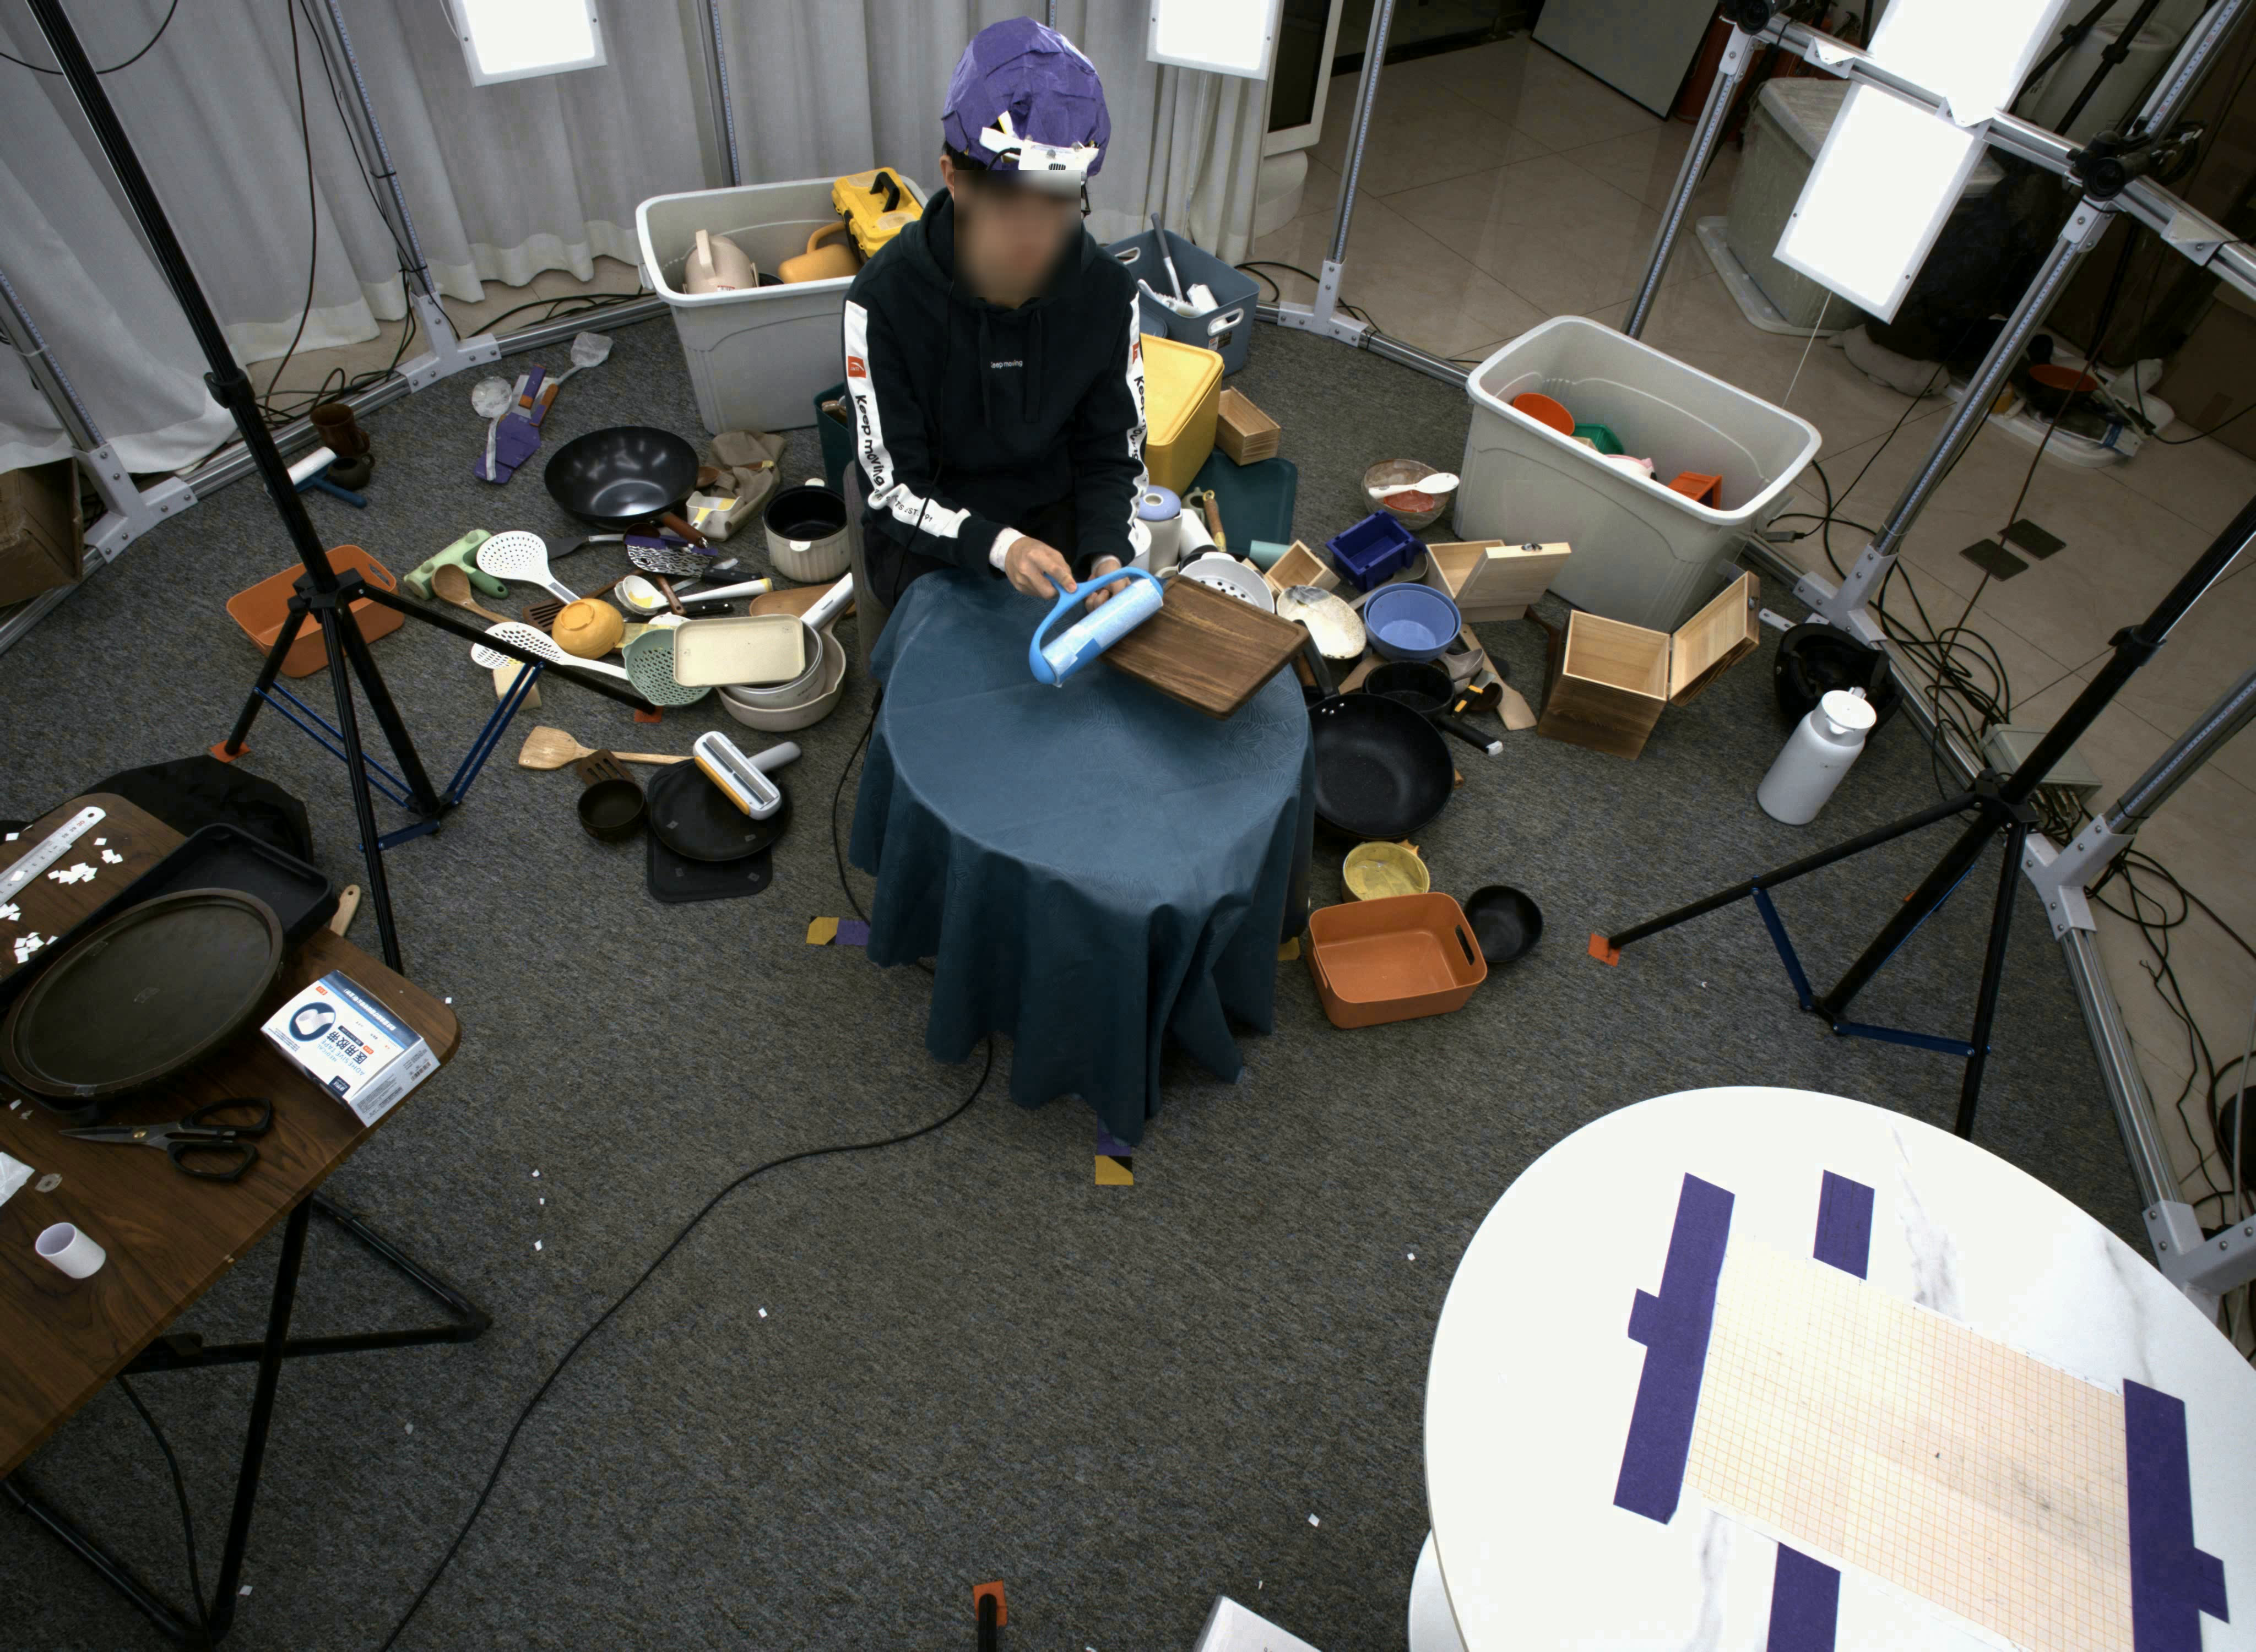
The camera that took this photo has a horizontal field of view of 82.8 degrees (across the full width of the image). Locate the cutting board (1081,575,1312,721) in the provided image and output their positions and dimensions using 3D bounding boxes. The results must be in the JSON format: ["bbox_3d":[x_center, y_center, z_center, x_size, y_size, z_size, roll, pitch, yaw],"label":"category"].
[{"bbox_3d":[0.065,-0.276,1.821,0.357,0.022,0.203,29,60,34],"label":"cutting board"}]

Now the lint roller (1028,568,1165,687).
[{"bbox_3d":[-0.079,-0.311,1.814,0.230,0.066,0.182,-42,72,-18],"label":"lint roller"}]
